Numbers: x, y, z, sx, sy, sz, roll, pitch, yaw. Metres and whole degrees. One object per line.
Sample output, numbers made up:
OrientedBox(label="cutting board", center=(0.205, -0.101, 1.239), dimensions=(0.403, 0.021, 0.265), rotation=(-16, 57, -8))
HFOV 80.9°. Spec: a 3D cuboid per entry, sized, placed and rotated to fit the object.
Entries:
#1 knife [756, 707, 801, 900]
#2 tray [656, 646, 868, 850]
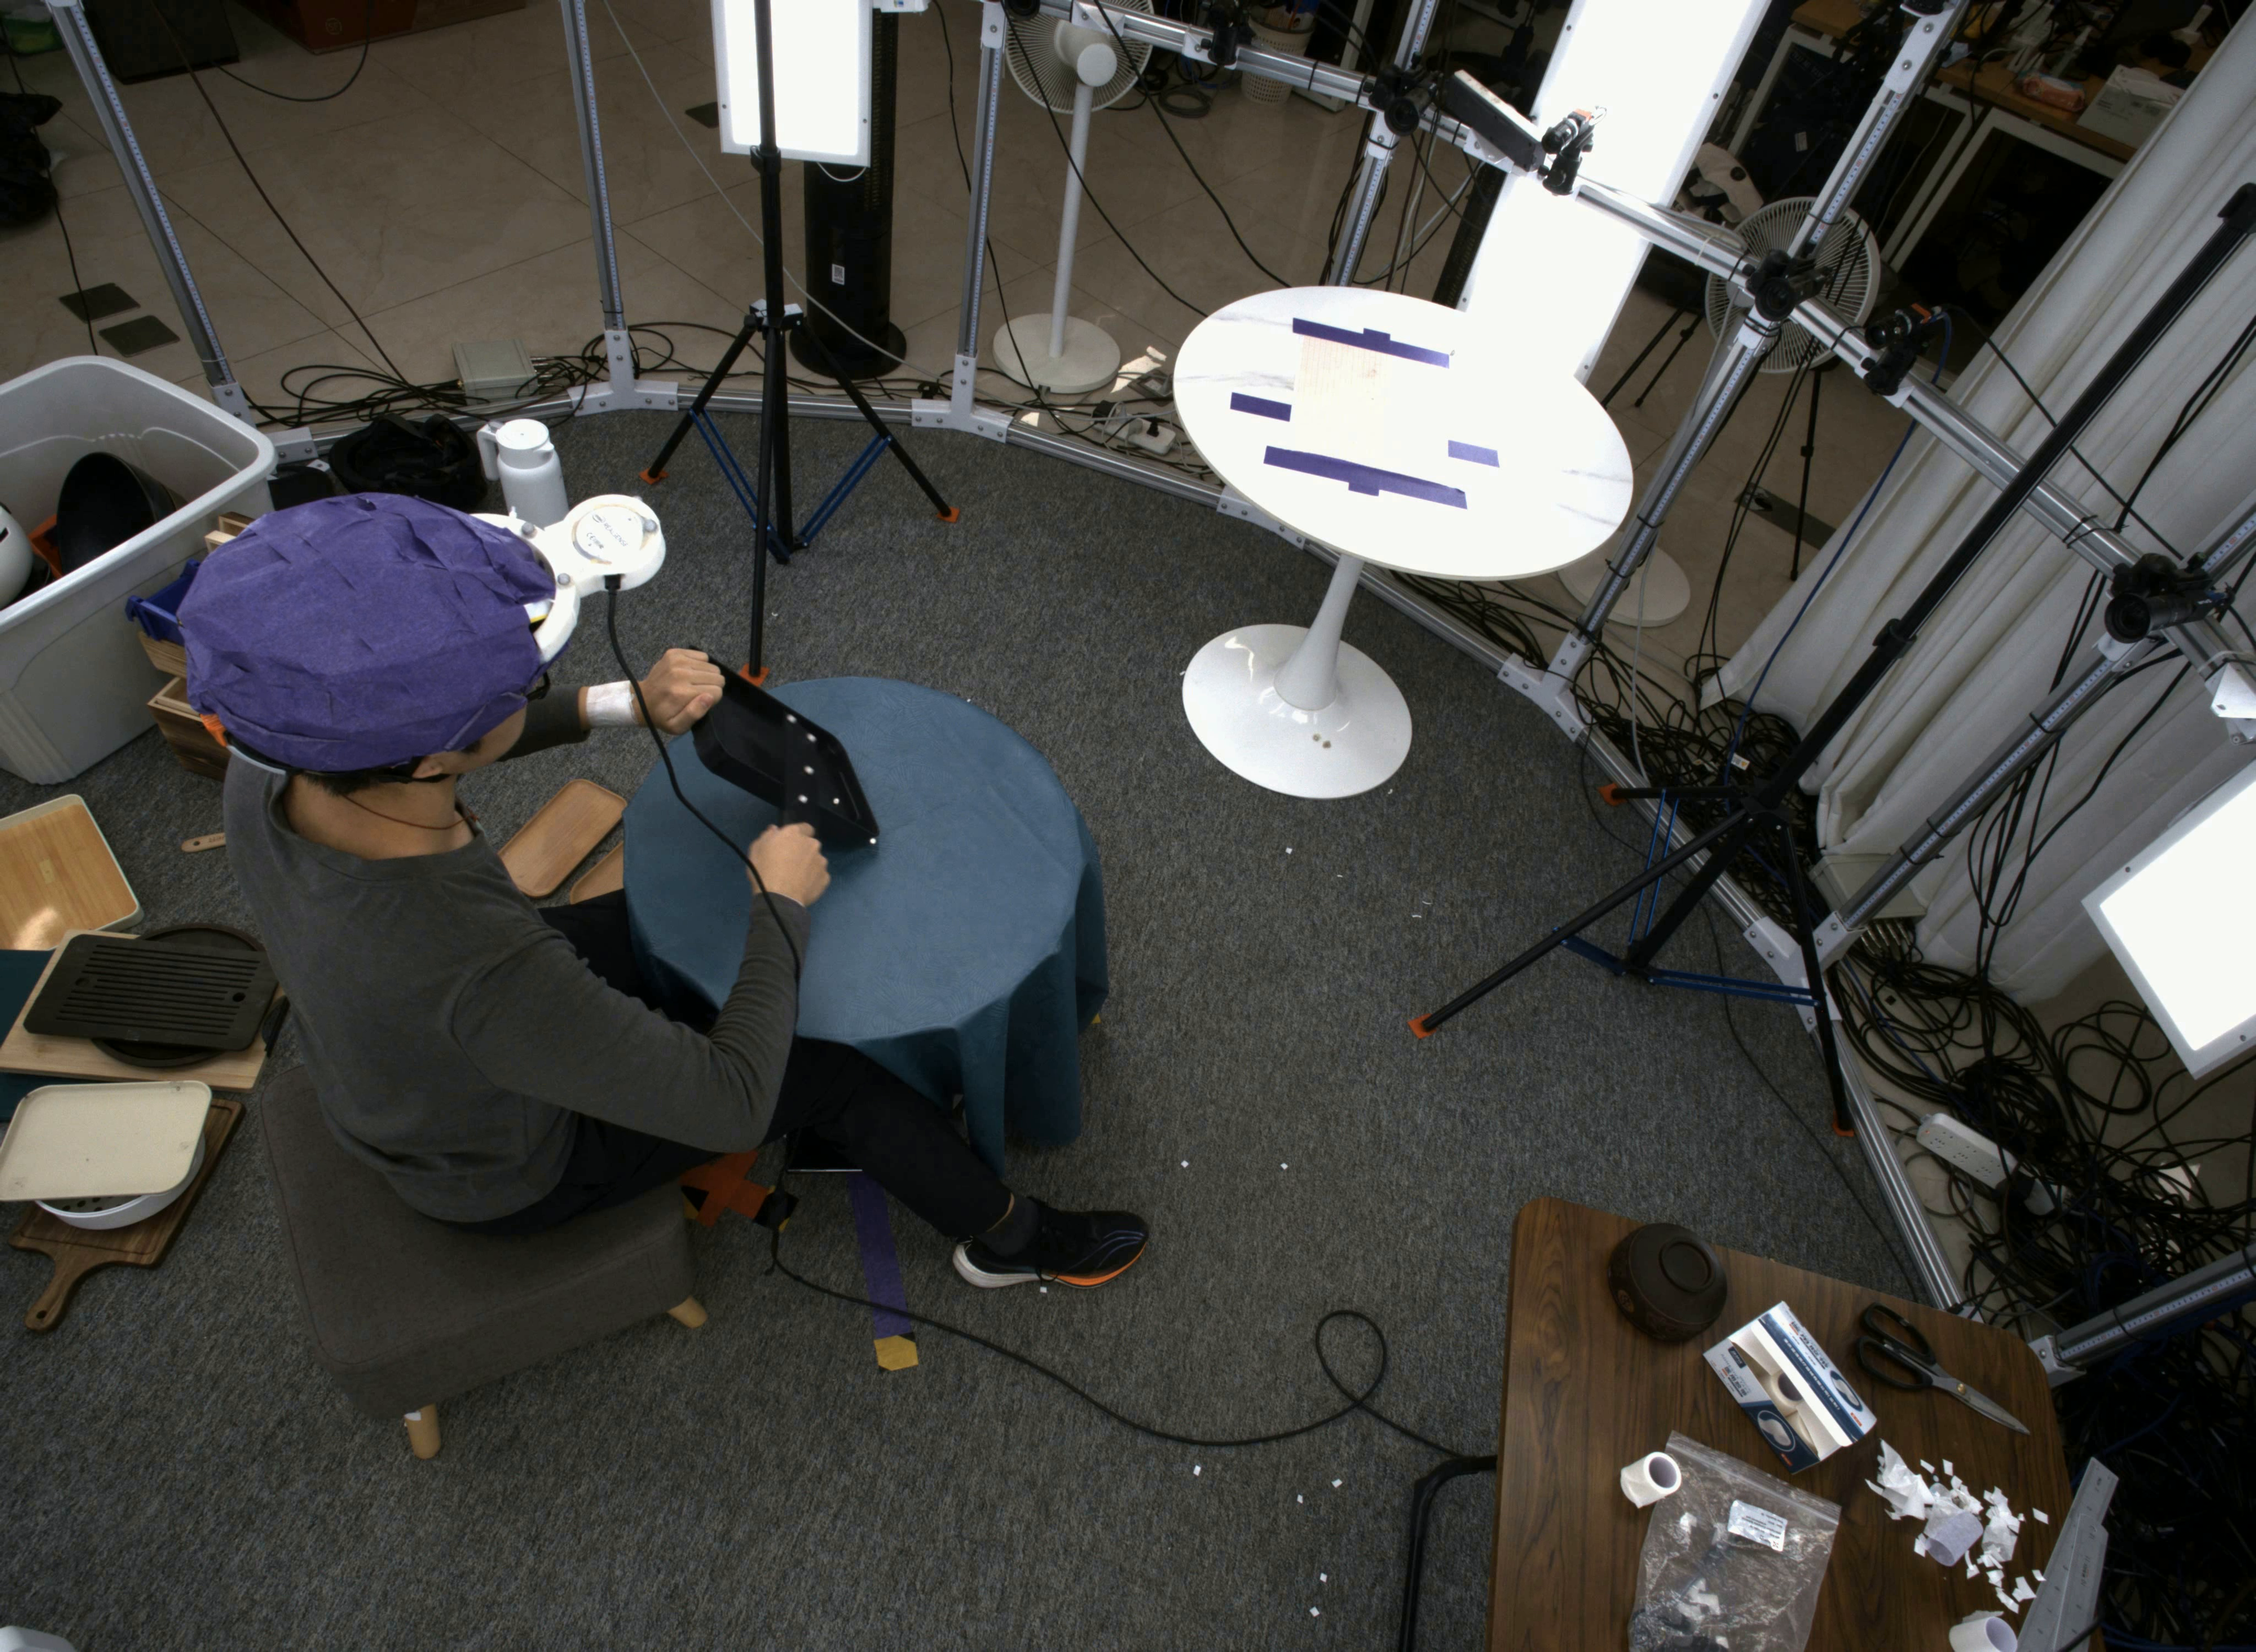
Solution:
OrientedBox(label="knife", center=(-0.417, -0.029, 1.540), dimensions=(0.020, 0.084, 0.294), rotation=(-28, 43, 15))
OrientedBox(label="tray", center=(-0.456, -0.091, 1.626), dimensions=(0.037, 0.328, 0.180), rotation=(-35, 62, 9))
